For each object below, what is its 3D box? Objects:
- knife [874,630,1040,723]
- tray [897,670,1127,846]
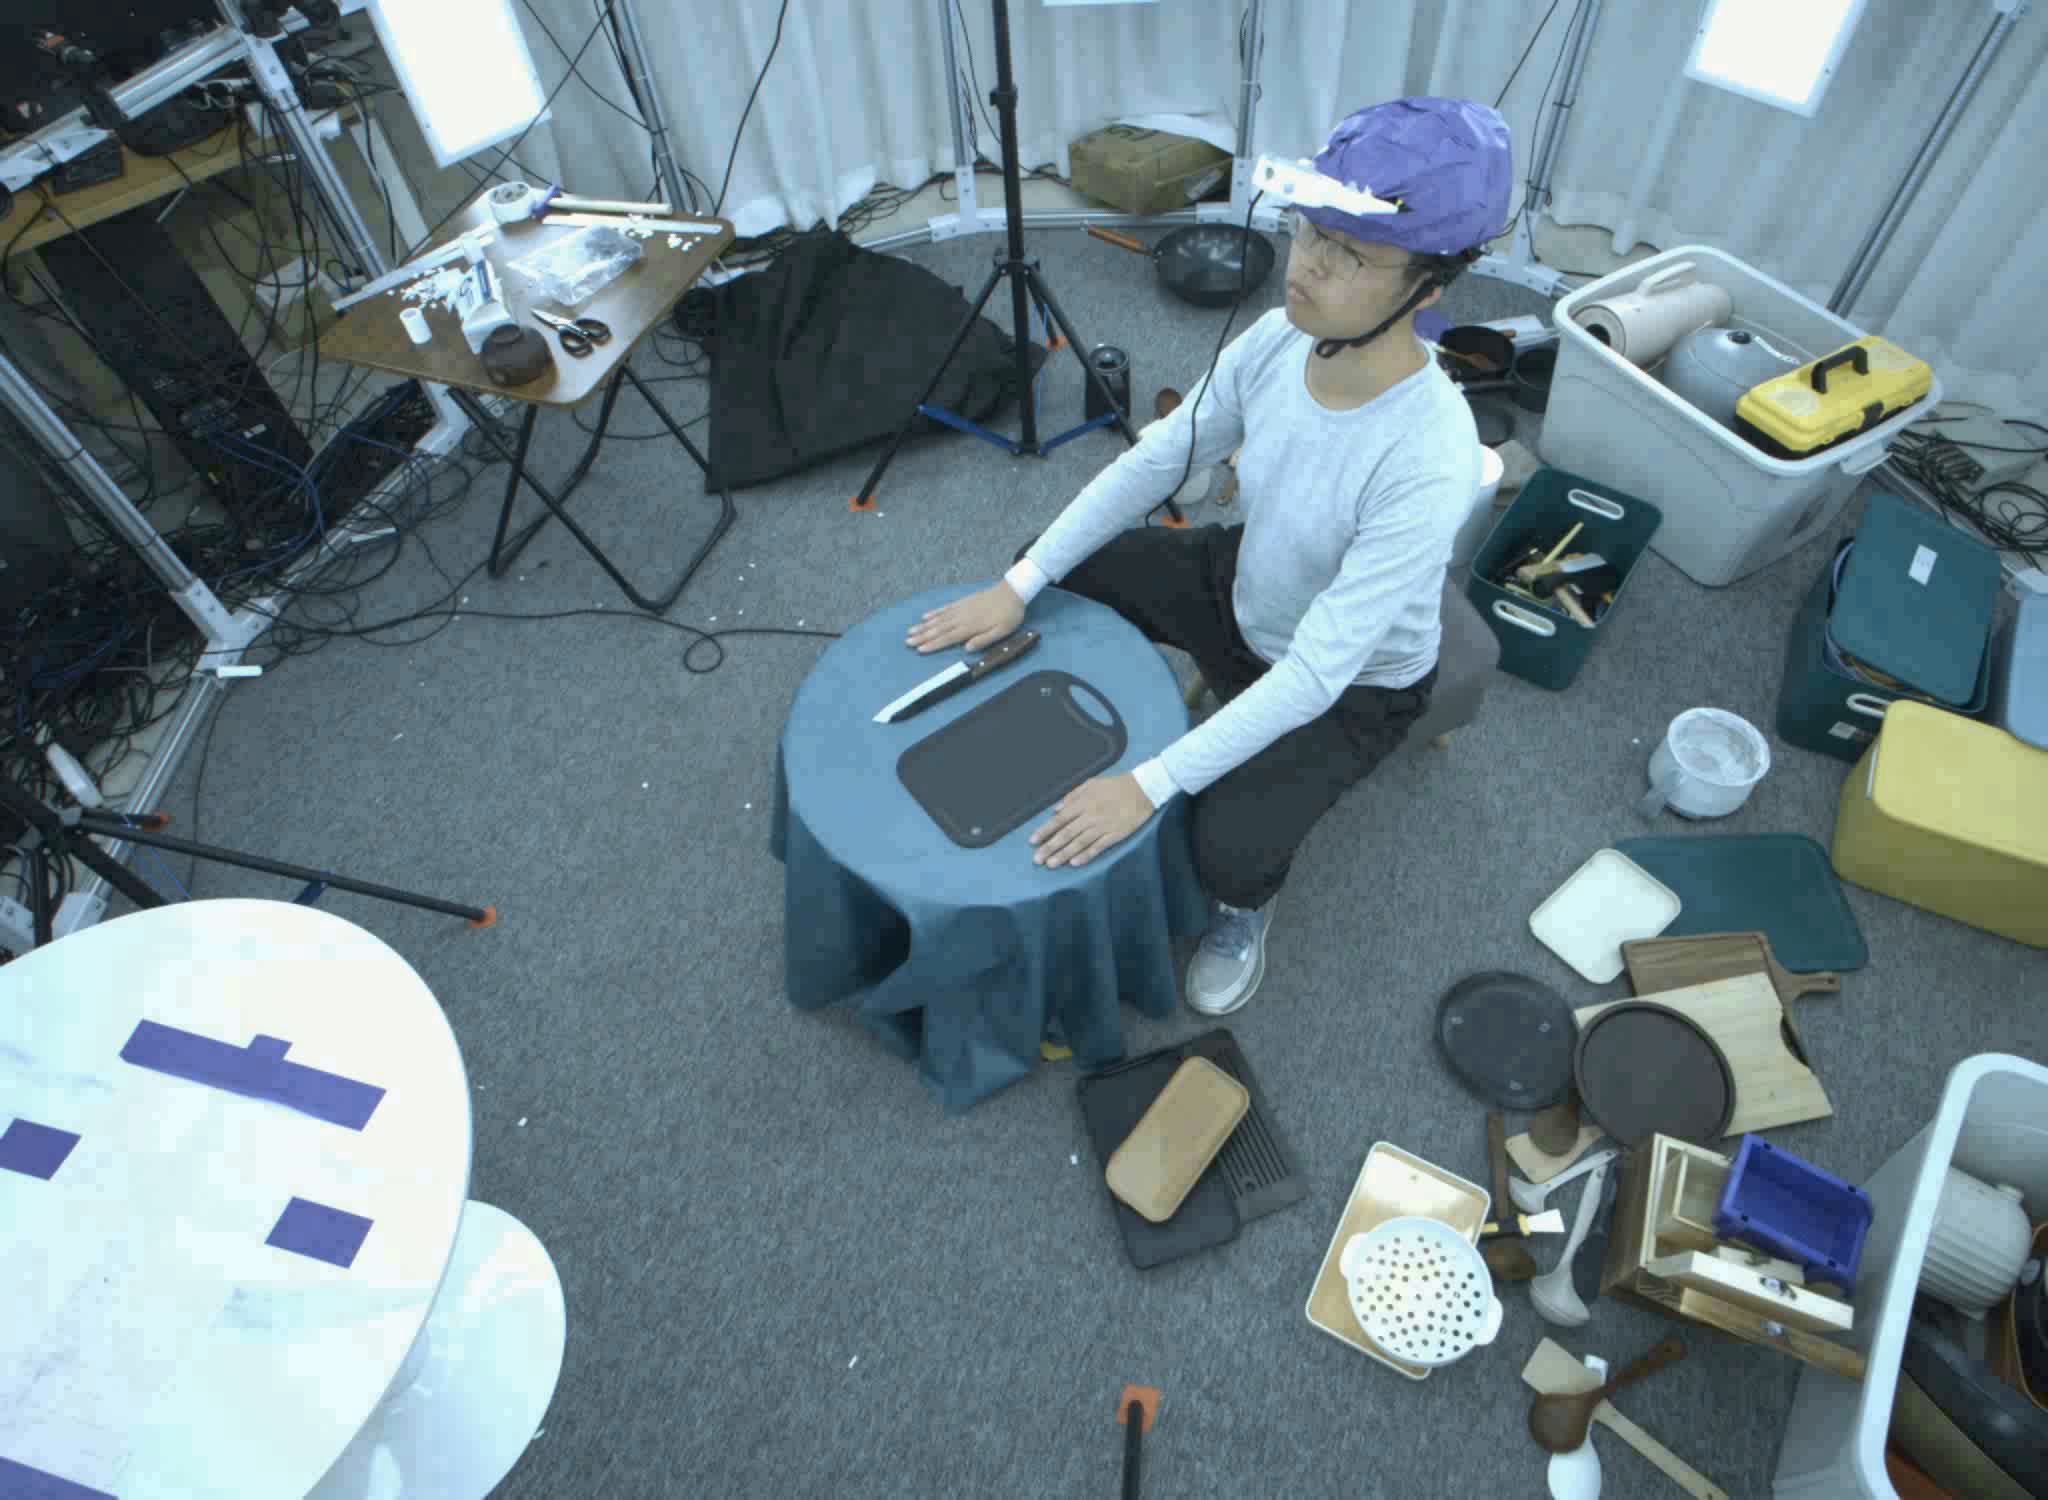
[{"bbox_3d":[-0.102,-0.111,1.868,0.291,0.020,0.049,-29,53,-15],"label":"knife"},{"bbox_3d":[-0.011,0.000,1.792,0.328,0.010,0.207,-31,60,-20],"label":"tray"}]
